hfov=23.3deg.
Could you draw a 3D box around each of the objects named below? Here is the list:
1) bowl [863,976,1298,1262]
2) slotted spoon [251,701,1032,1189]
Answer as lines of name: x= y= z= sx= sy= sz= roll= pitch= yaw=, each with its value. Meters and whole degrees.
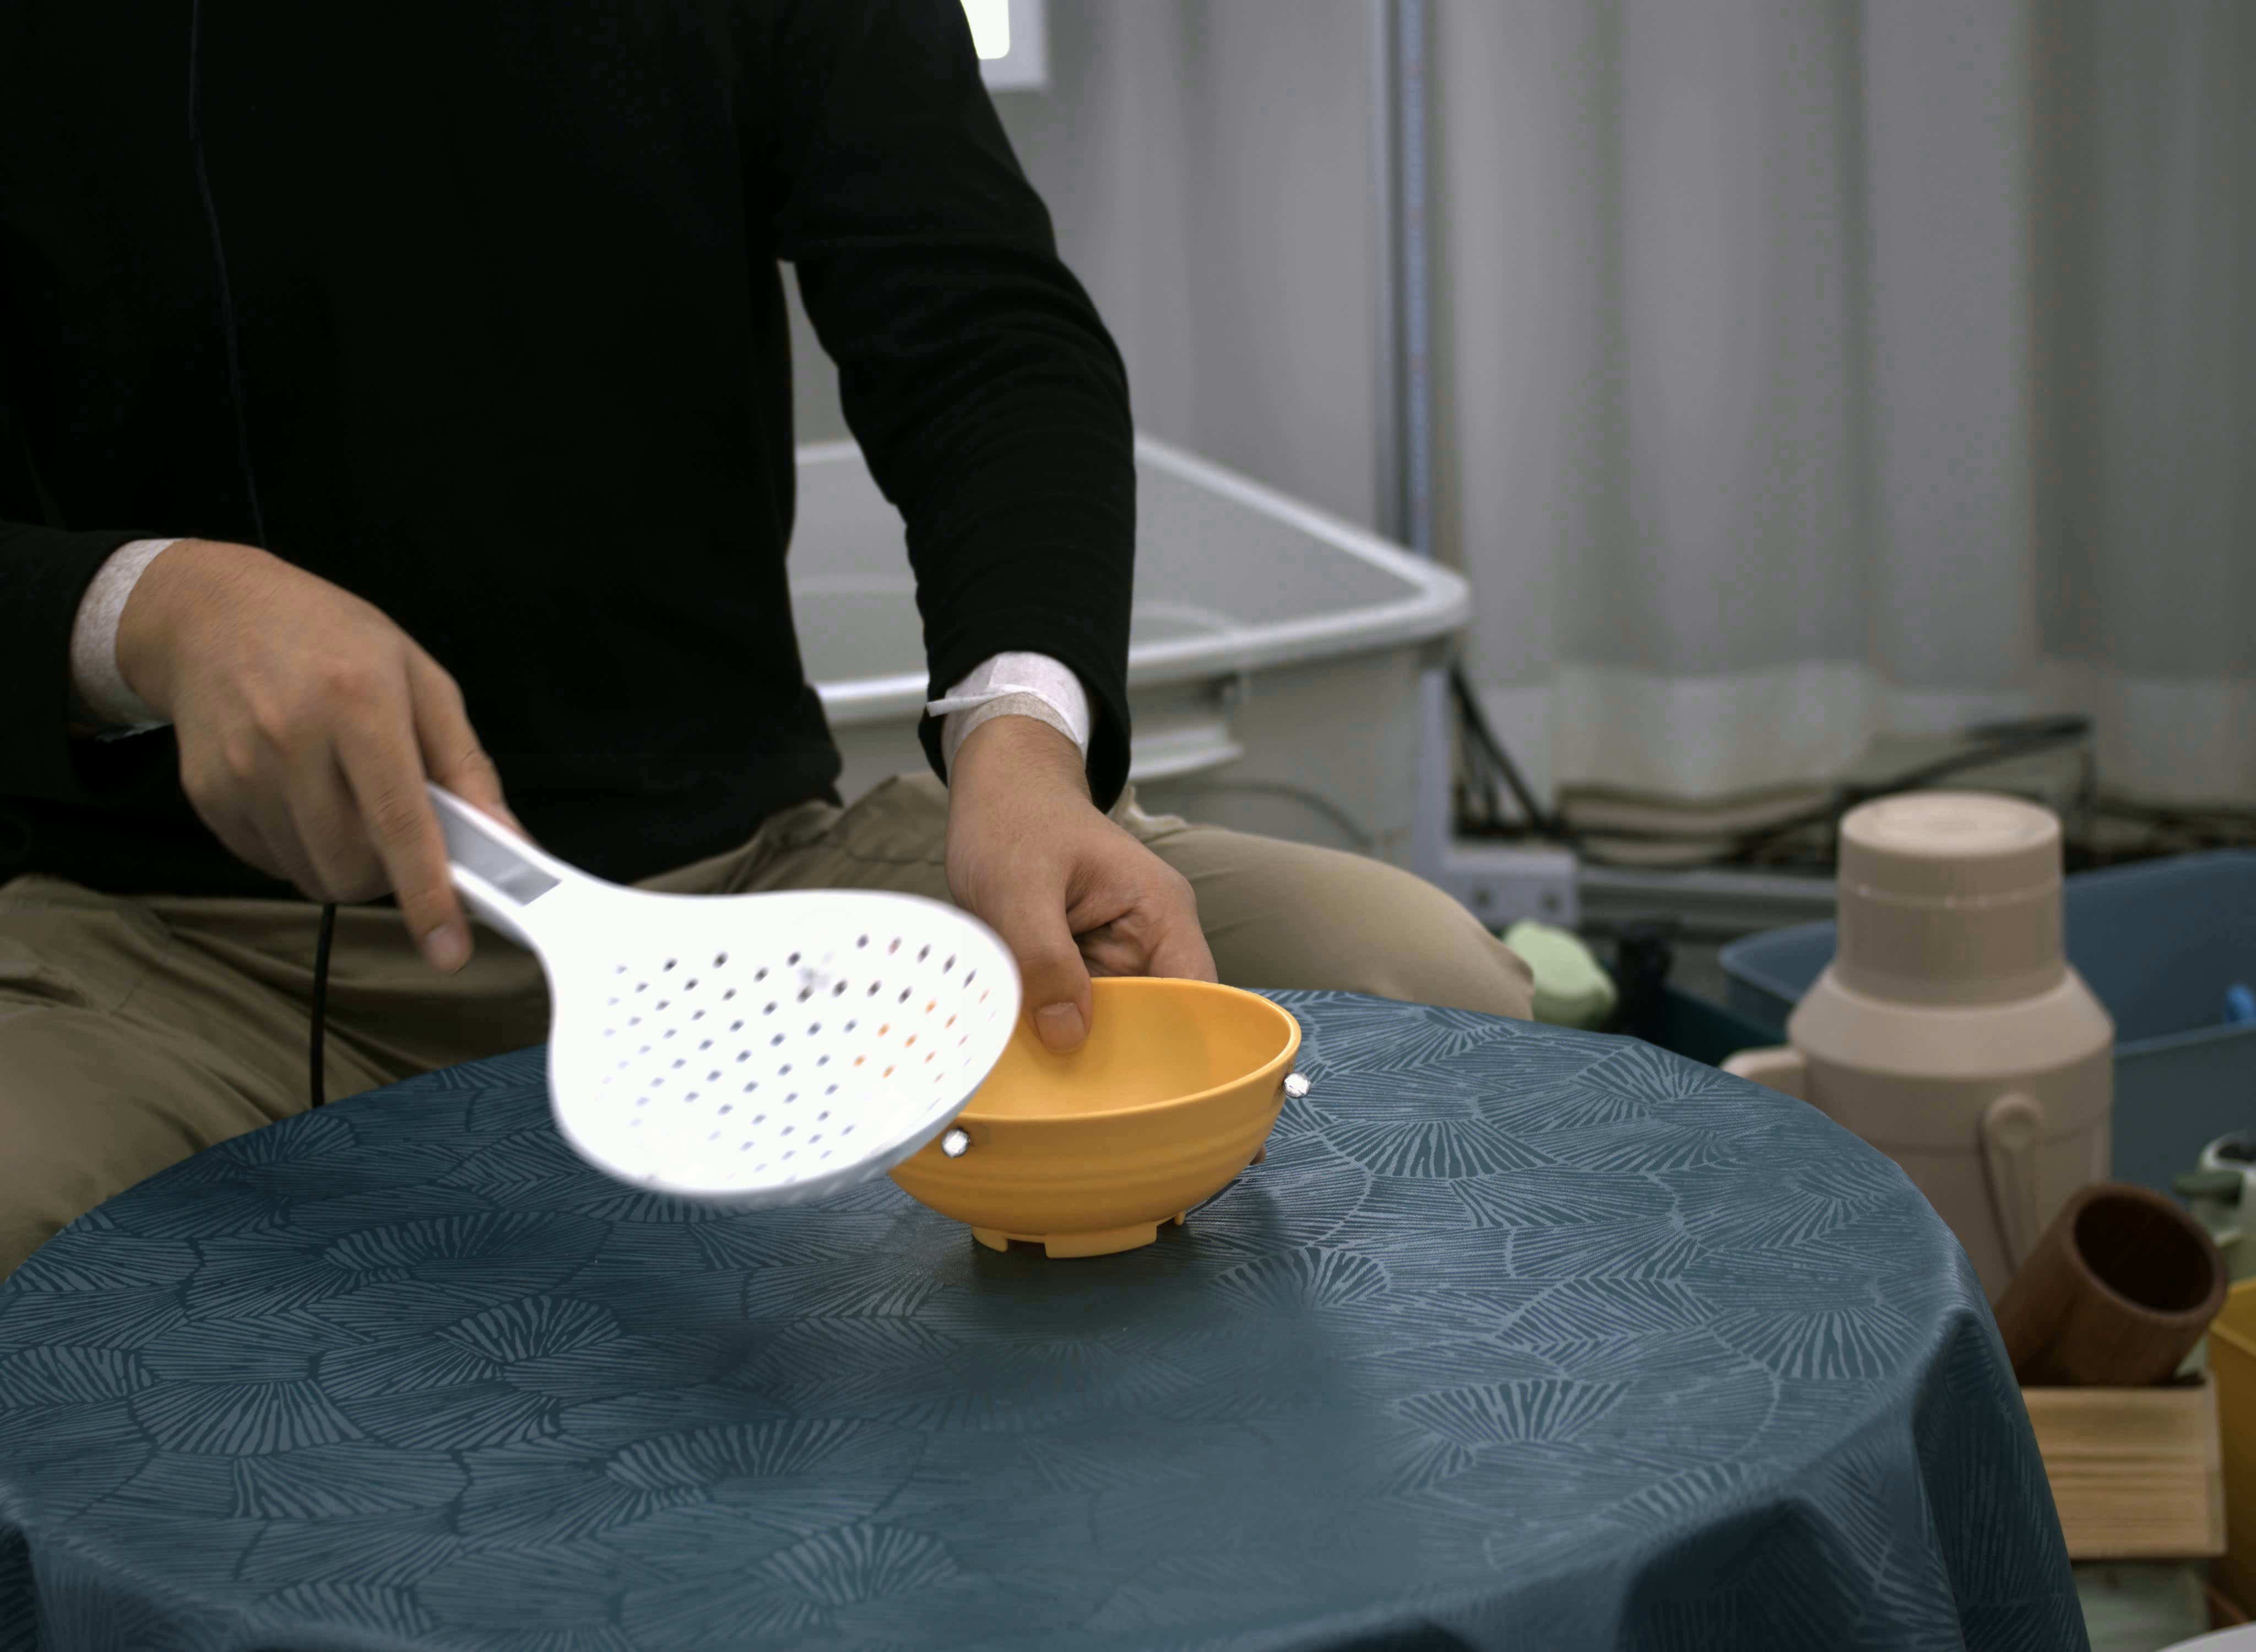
bowl: x=-0.019 y=0.096 z=1.680 sx=0.145 sy=0.060 sz=0.146 roll=-2 pitch=15 yaw=0
slotted spoon: x=-0.162 y=0.026 z=1.648 sx=0.136 sy=0.045 sz=0.353 roll=-34 pitch=43 yaw=-27
